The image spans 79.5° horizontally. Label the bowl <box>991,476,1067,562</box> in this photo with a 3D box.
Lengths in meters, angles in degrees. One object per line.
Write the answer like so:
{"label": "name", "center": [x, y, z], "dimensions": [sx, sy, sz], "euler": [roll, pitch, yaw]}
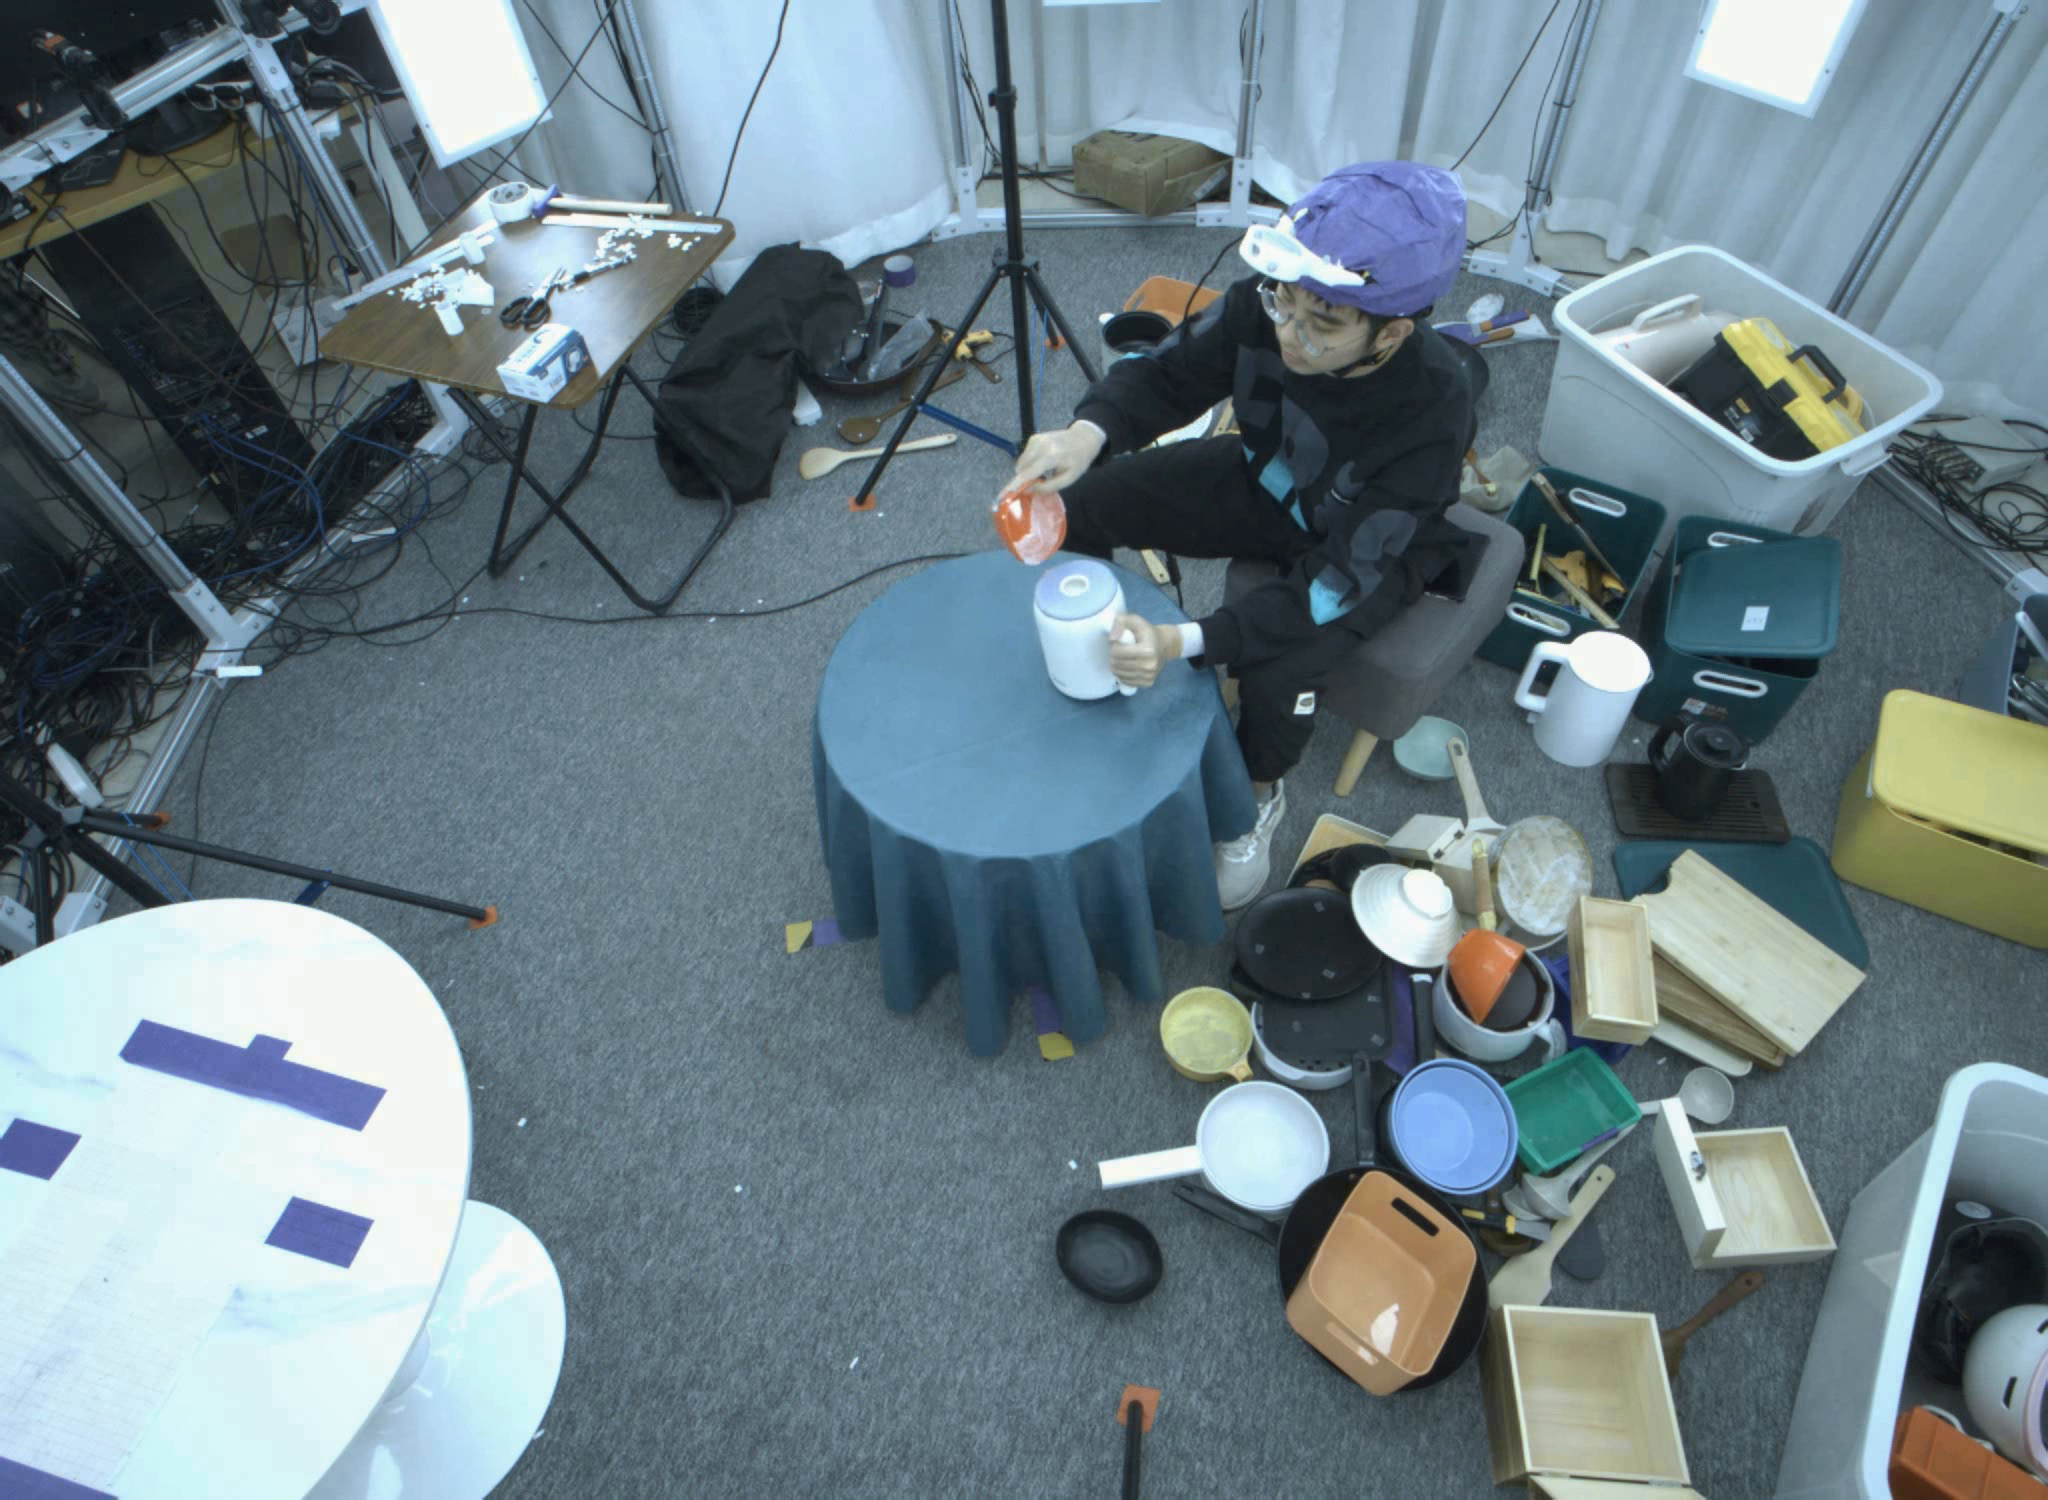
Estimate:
{"label": "bowl", "center": [-0.001, -0.317, 1.683], "dimensions": [0.050, 0.121, 0.119], "euler": [12, 50, 49]}

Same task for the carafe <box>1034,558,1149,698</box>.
{"label": "carafe", "center": [0.104, -0.164, 1.777], "dimensions": [0.133, 0.185, 0.187], "euler": [-41, 57, -18]}
